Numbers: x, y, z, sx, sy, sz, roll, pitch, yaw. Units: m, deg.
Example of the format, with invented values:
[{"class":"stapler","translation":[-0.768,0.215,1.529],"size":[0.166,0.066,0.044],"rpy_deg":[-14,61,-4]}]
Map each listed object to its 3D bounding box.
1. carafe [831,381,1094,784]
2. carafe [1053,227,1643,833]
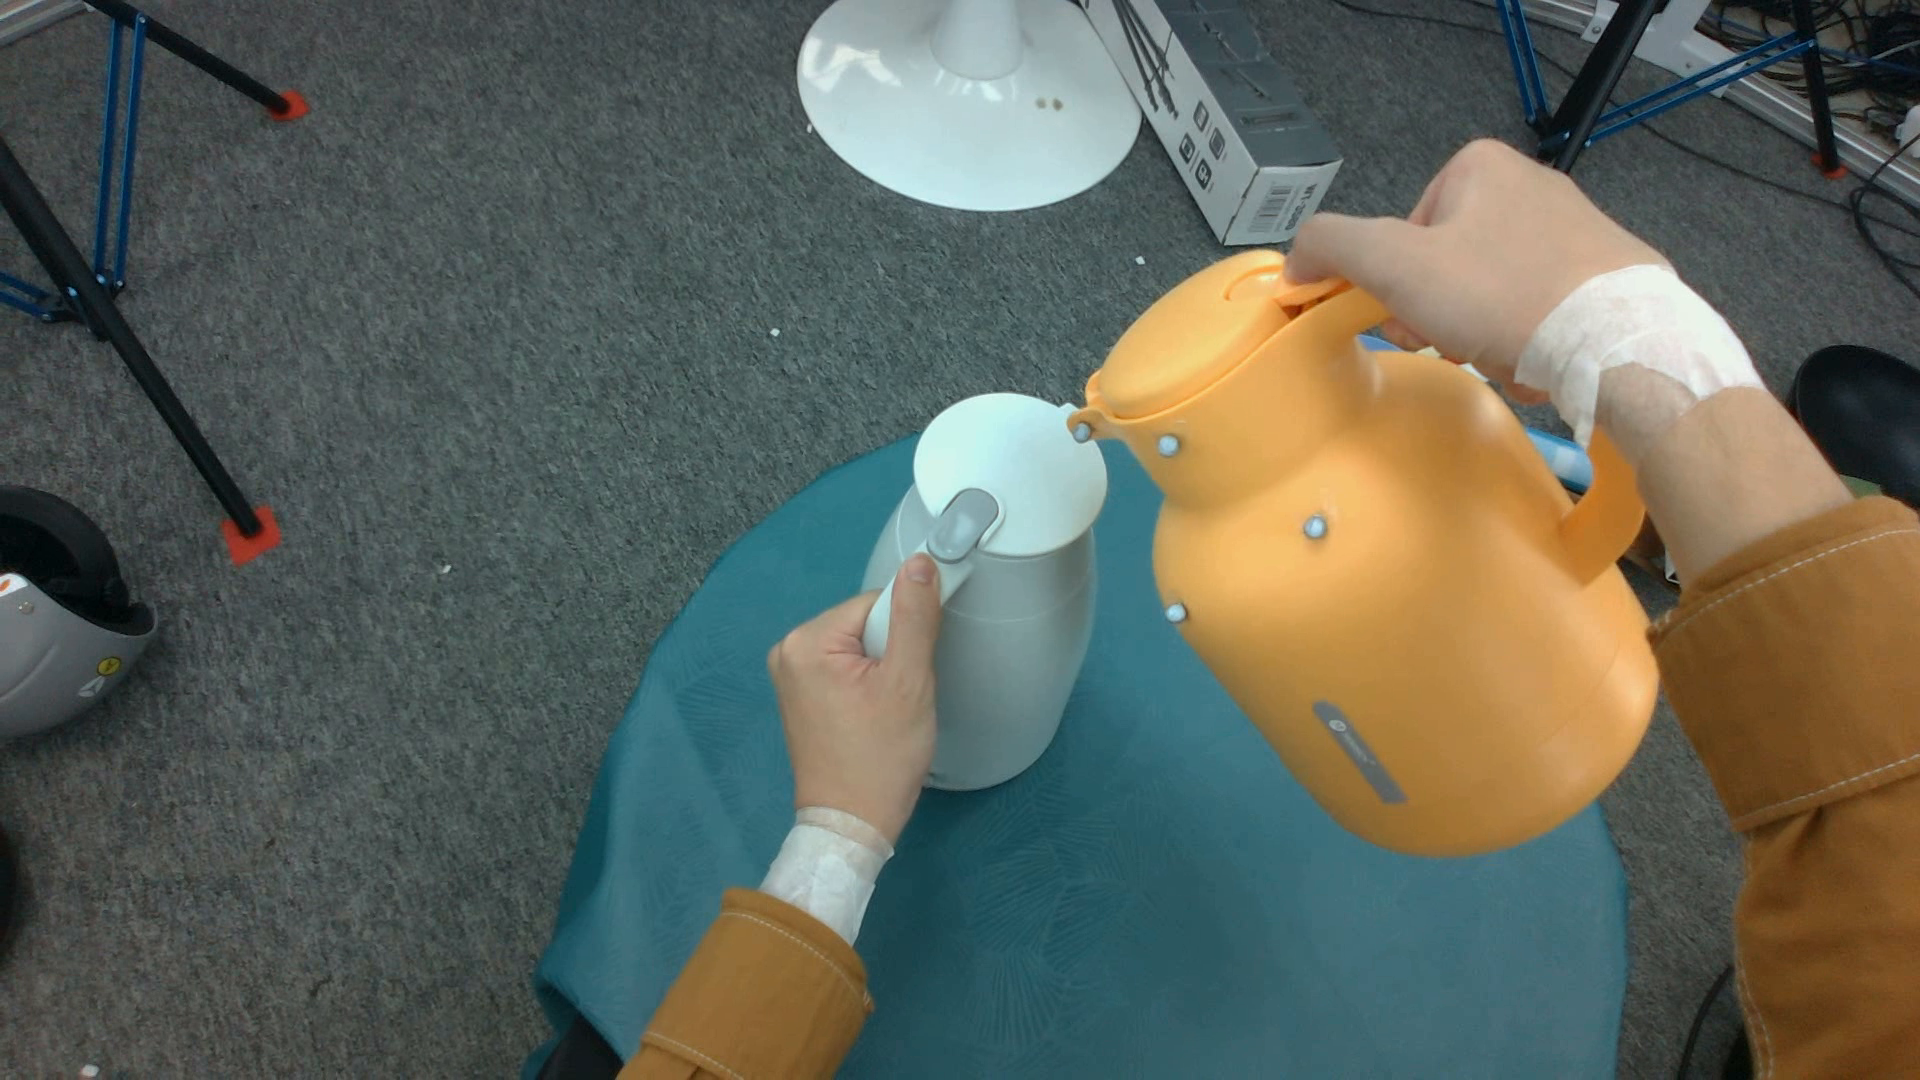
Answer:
[{"class":"carafe","translation":[-0.006,0.036,0.727],"size":[0.132,0.247,0.168],"rpy_deg":[36,61,14]},{"class":"carafe","translation":[0.173,-0.010,0.569],"size":[0.260,0.201,0.164],"rpy_deg":[46,49,-22]}]
